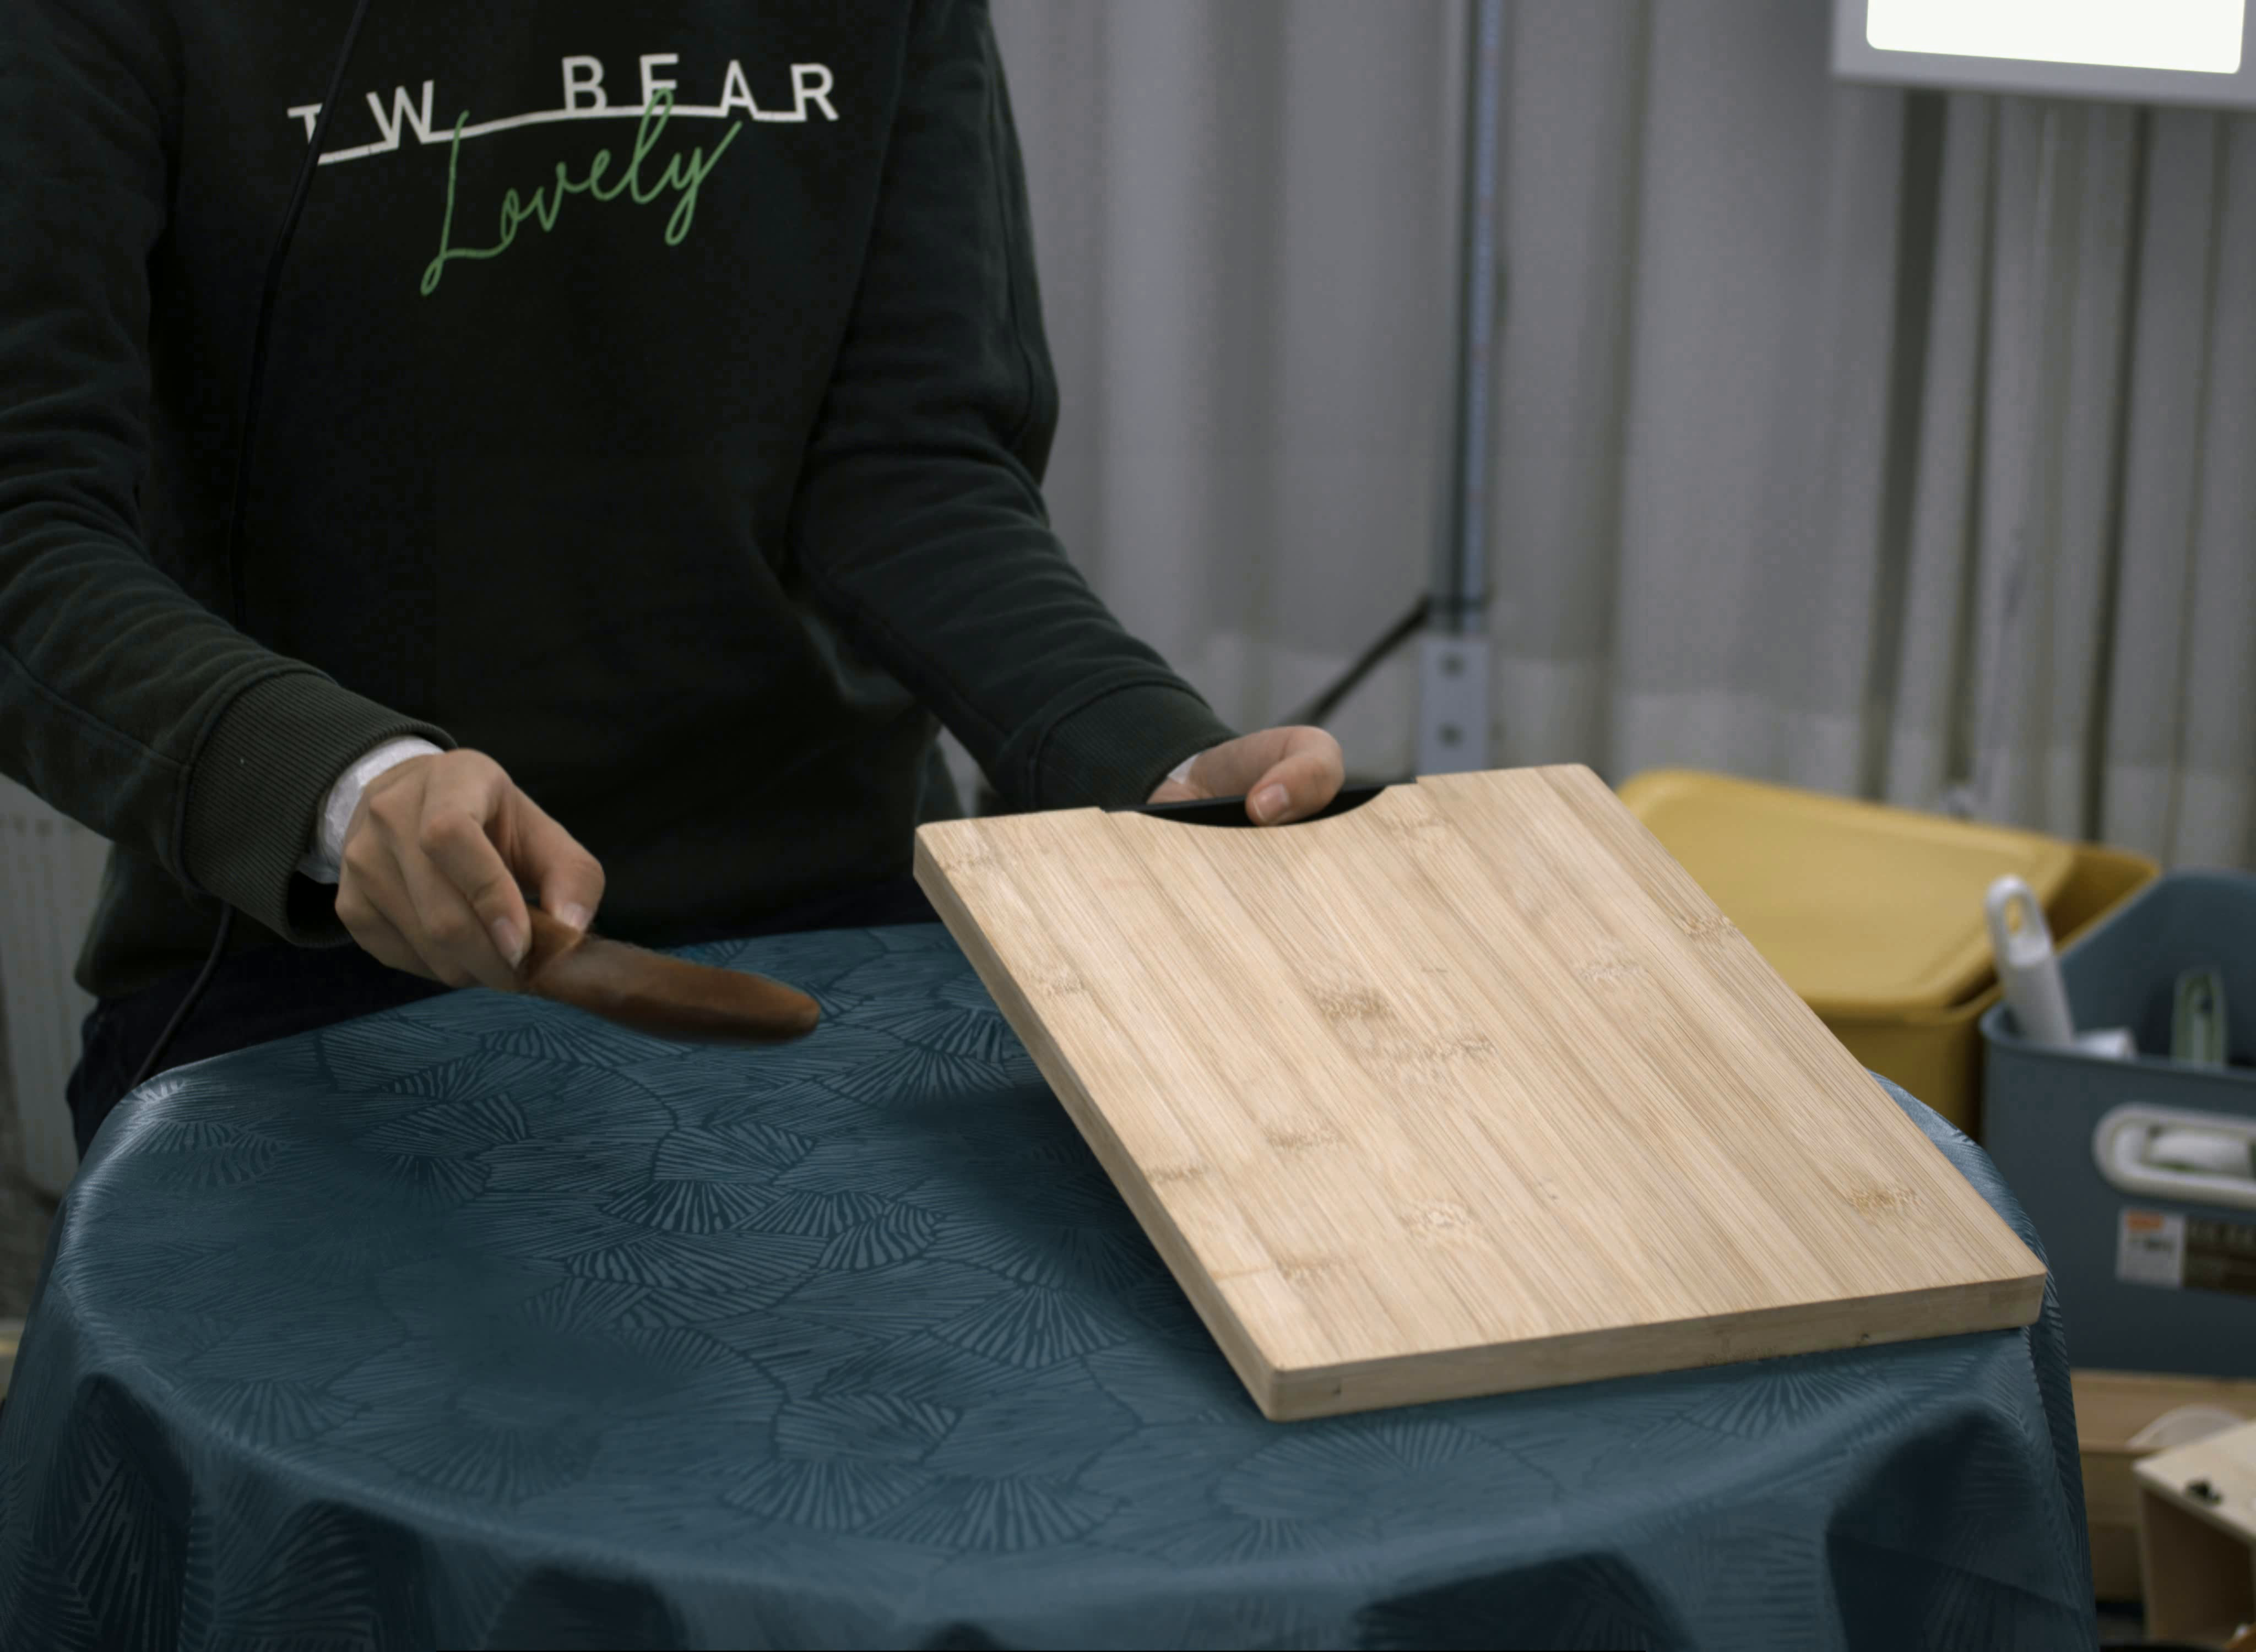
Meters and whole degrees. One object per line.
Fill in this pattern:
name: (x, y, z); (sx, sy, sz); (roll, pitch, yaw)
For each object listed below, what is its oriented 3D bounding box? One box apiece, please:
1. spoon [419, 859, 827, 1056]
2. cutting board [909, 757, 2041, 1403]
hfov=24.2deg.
spoon: (-0.156, 0.039, 1.526); (0.076, 0.017, 0.213); (3, 10, -32)
cutting board: (0.096, 0.070, 1.625); (0.251, 0.024, 0.344); (-5, 28, -20)
